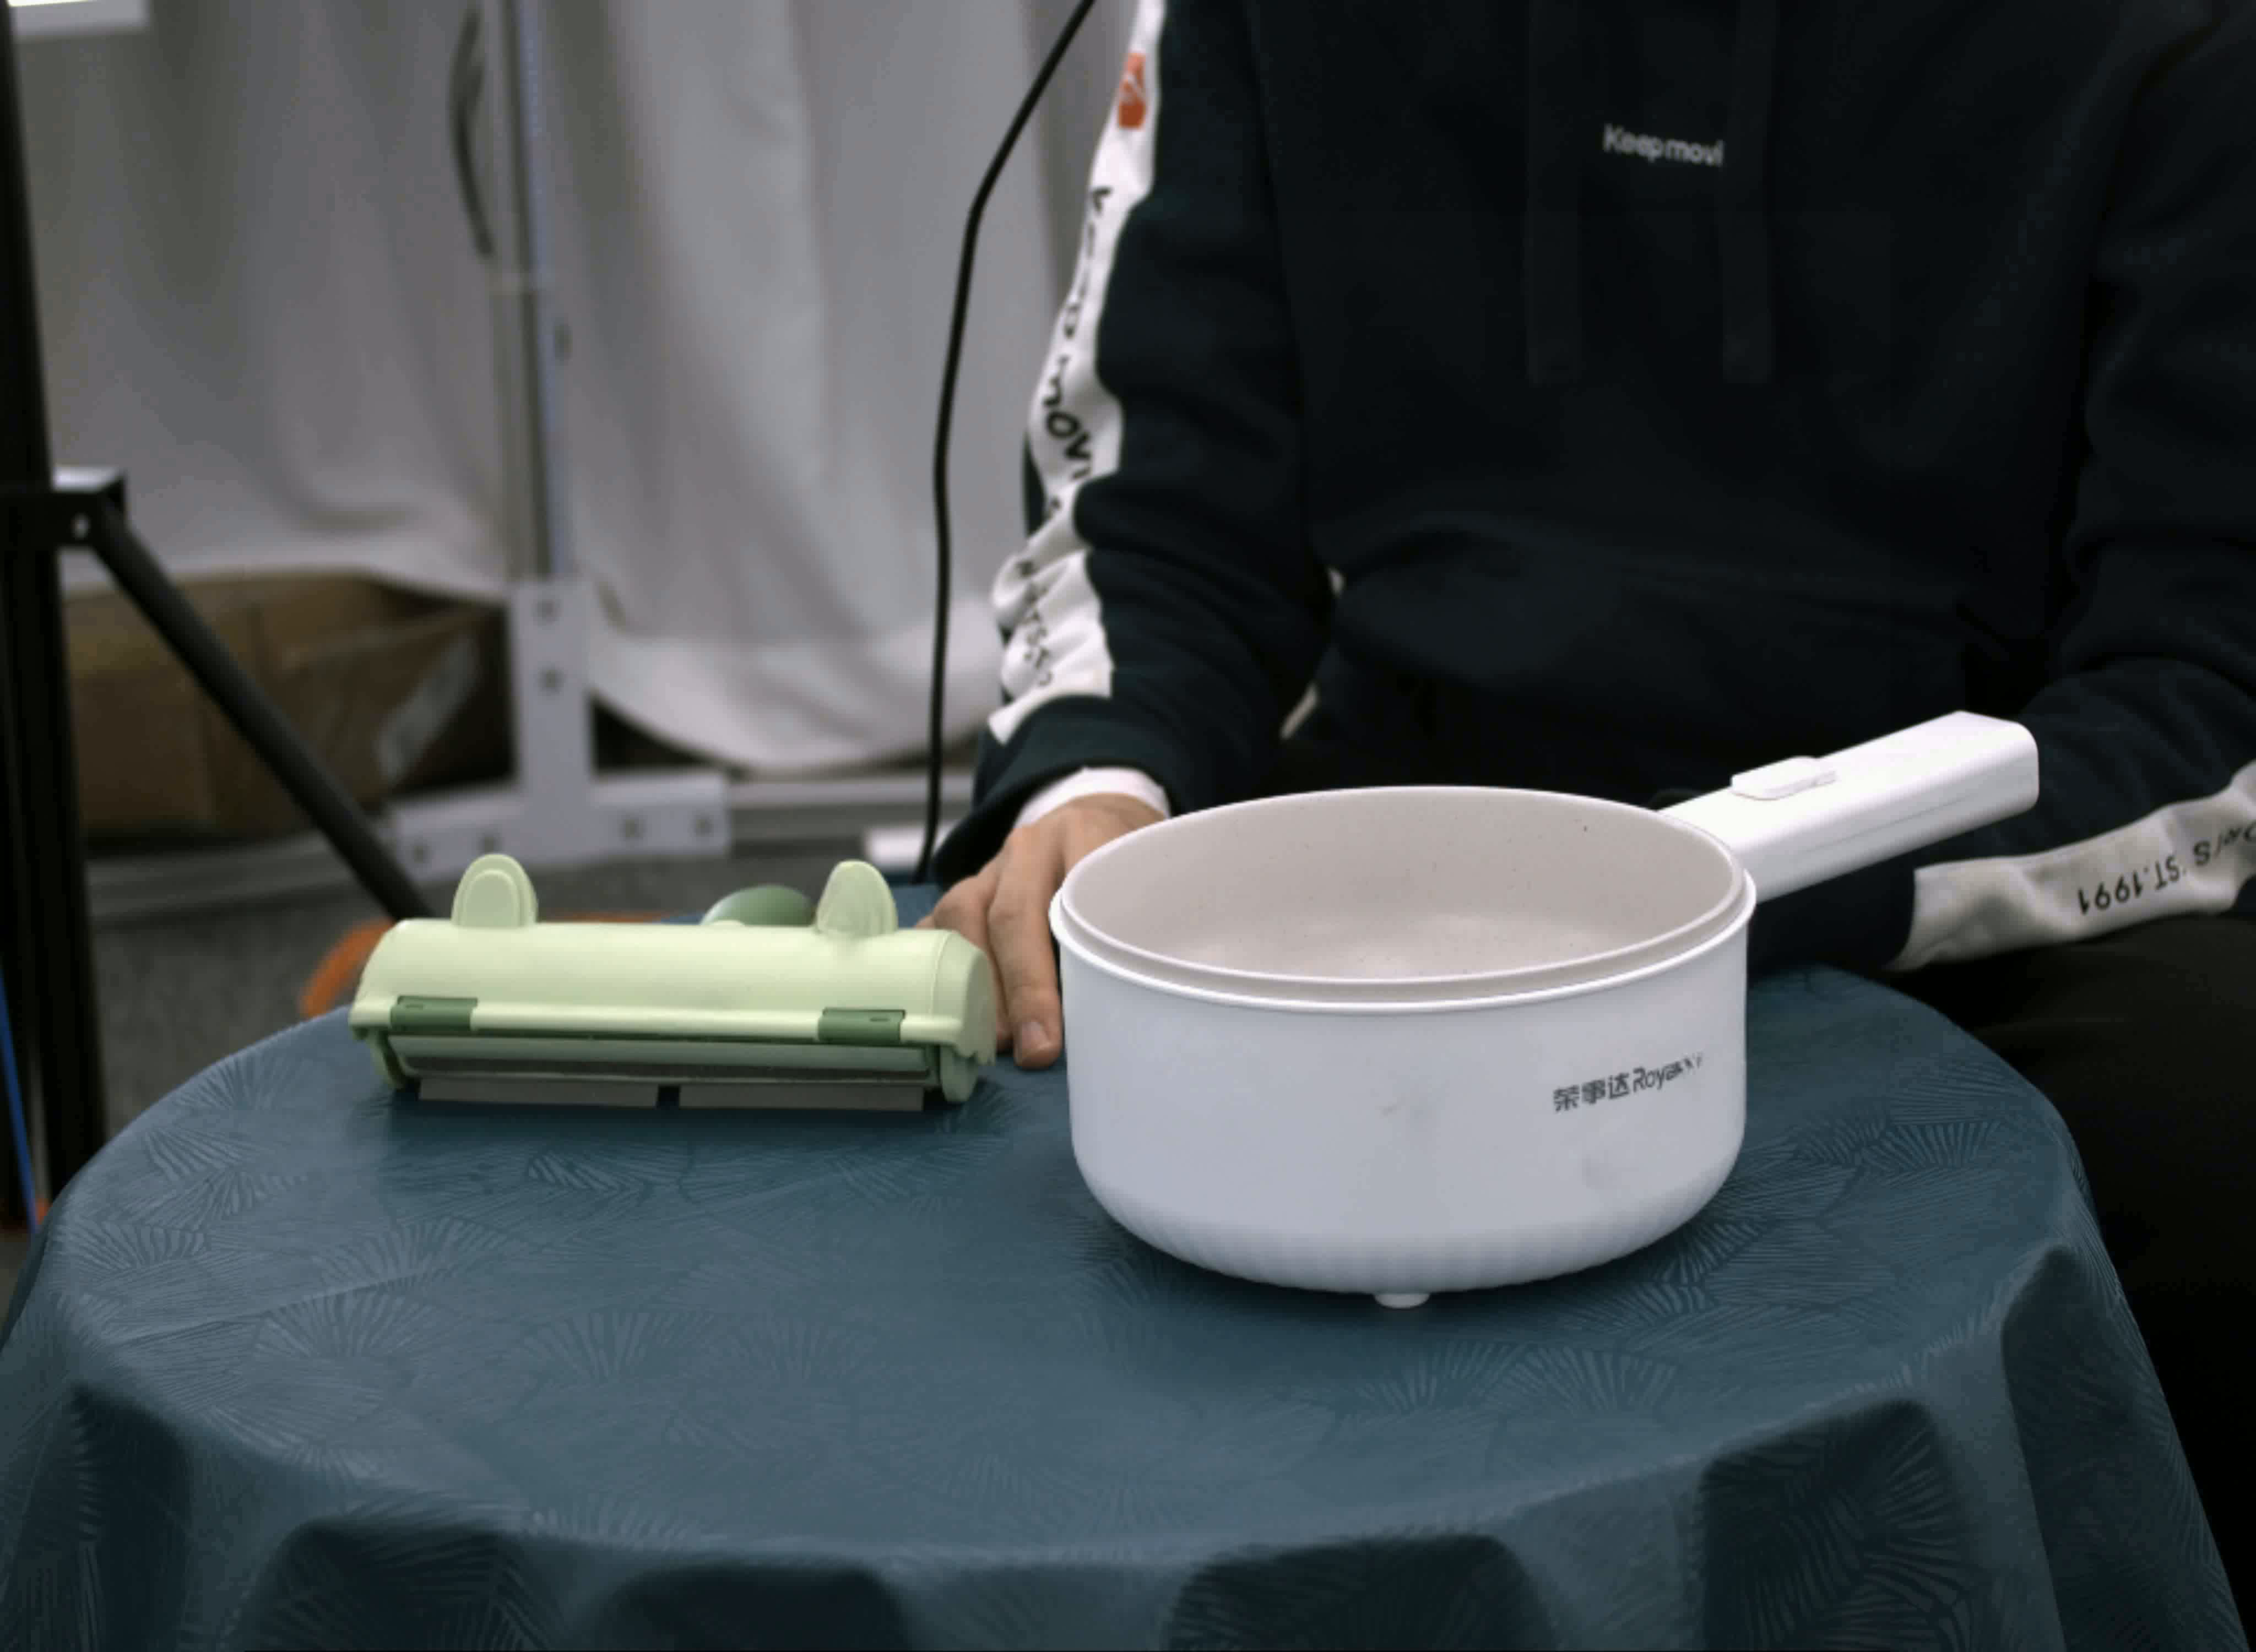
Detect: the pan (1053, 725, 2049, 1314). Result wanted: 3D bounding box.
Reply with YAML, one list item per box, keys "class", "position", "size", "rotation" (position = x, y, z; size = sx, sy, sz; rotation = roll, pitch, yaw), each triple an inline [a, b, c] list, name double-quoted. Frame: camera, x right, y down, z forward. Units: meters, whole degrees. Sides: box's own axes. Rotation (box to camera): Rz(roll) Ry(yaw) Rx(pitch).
- class: "pan"
  position: [0.139, 0.050, 1.560]
  size: [0.346, 0.102, 0.206]
  rotation: [-14, 18, -37]

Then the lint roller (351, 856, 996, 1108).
- class: "lint roller"
  position: [-0.131, 0.032, 1.712]
  size: [0.200, 0.082, 0.182]
  rotation: [0, 21, 13]
